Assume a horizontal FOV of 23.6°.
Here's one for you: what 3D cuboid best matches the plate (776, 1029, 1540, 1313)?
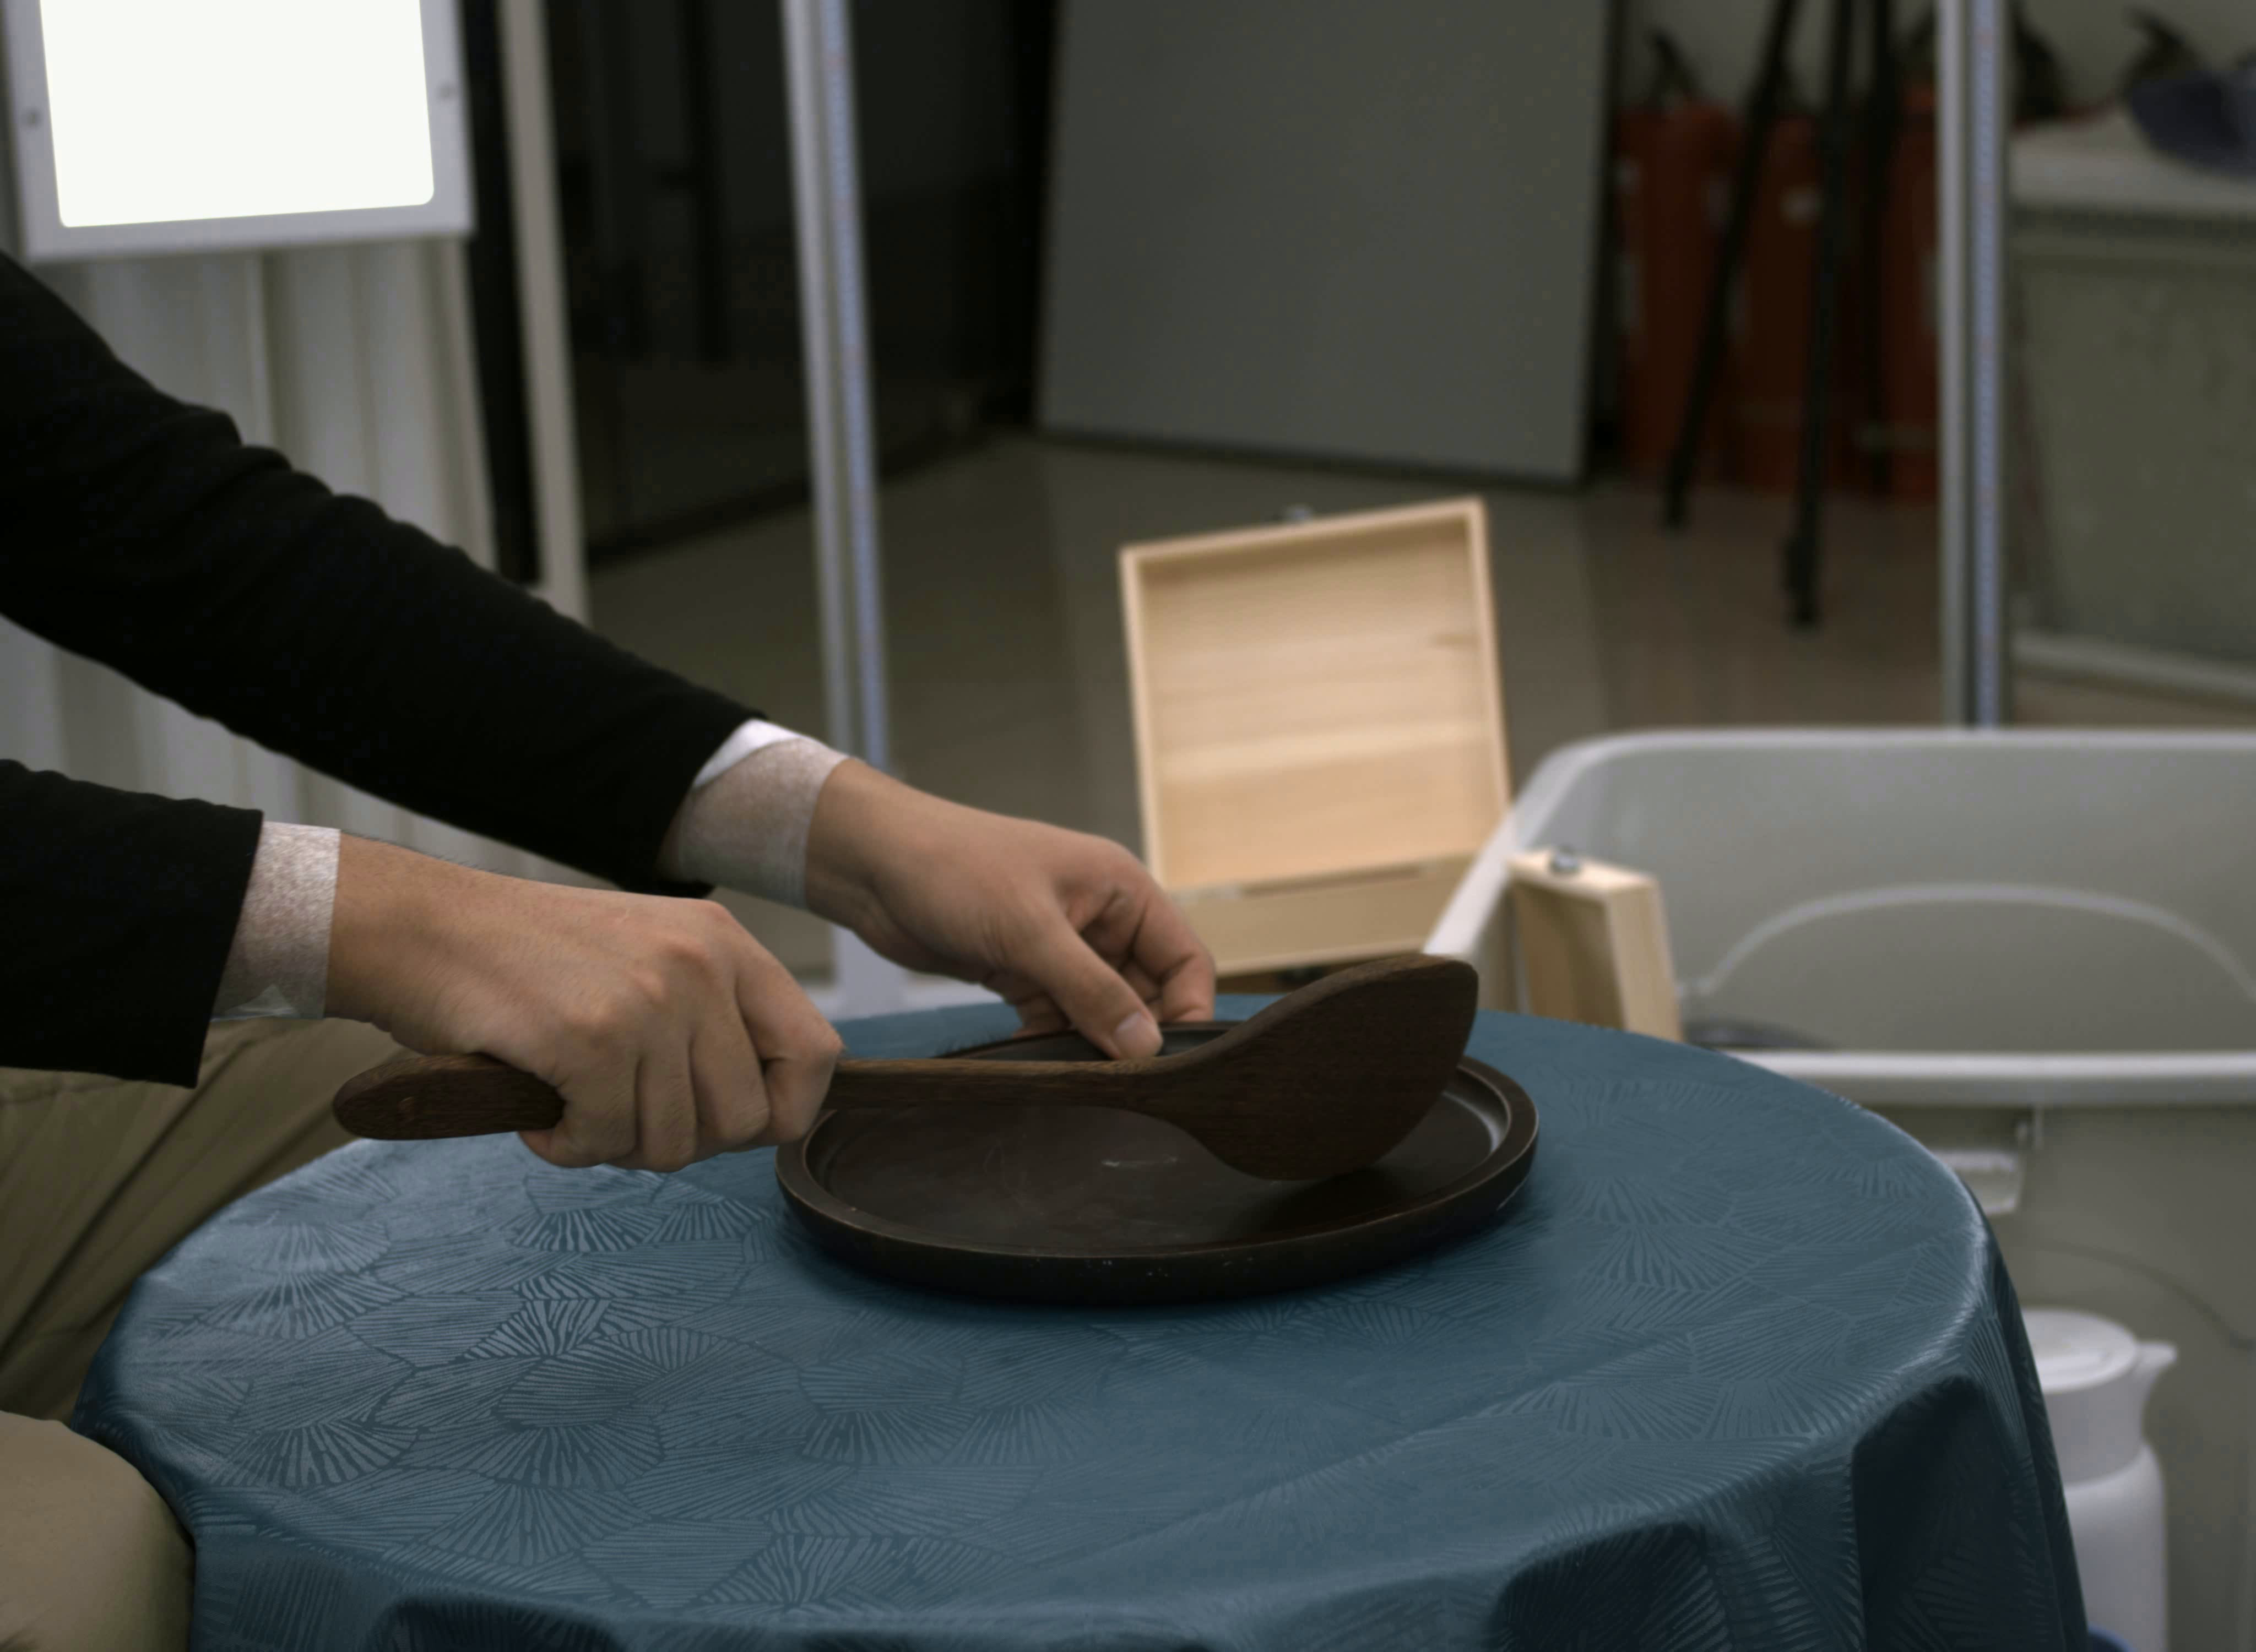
[{"bbox_3d":[0.010,0.110,1.762,0.251,0.029,0.255,-5,15,0],"label":"plate"}]

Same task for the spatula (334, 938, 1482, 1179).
[{"bbox_3d":[-0.059,0.075,1.631,0.377,0.097,0.016,1,39,-27],"label":"spatula"}]
